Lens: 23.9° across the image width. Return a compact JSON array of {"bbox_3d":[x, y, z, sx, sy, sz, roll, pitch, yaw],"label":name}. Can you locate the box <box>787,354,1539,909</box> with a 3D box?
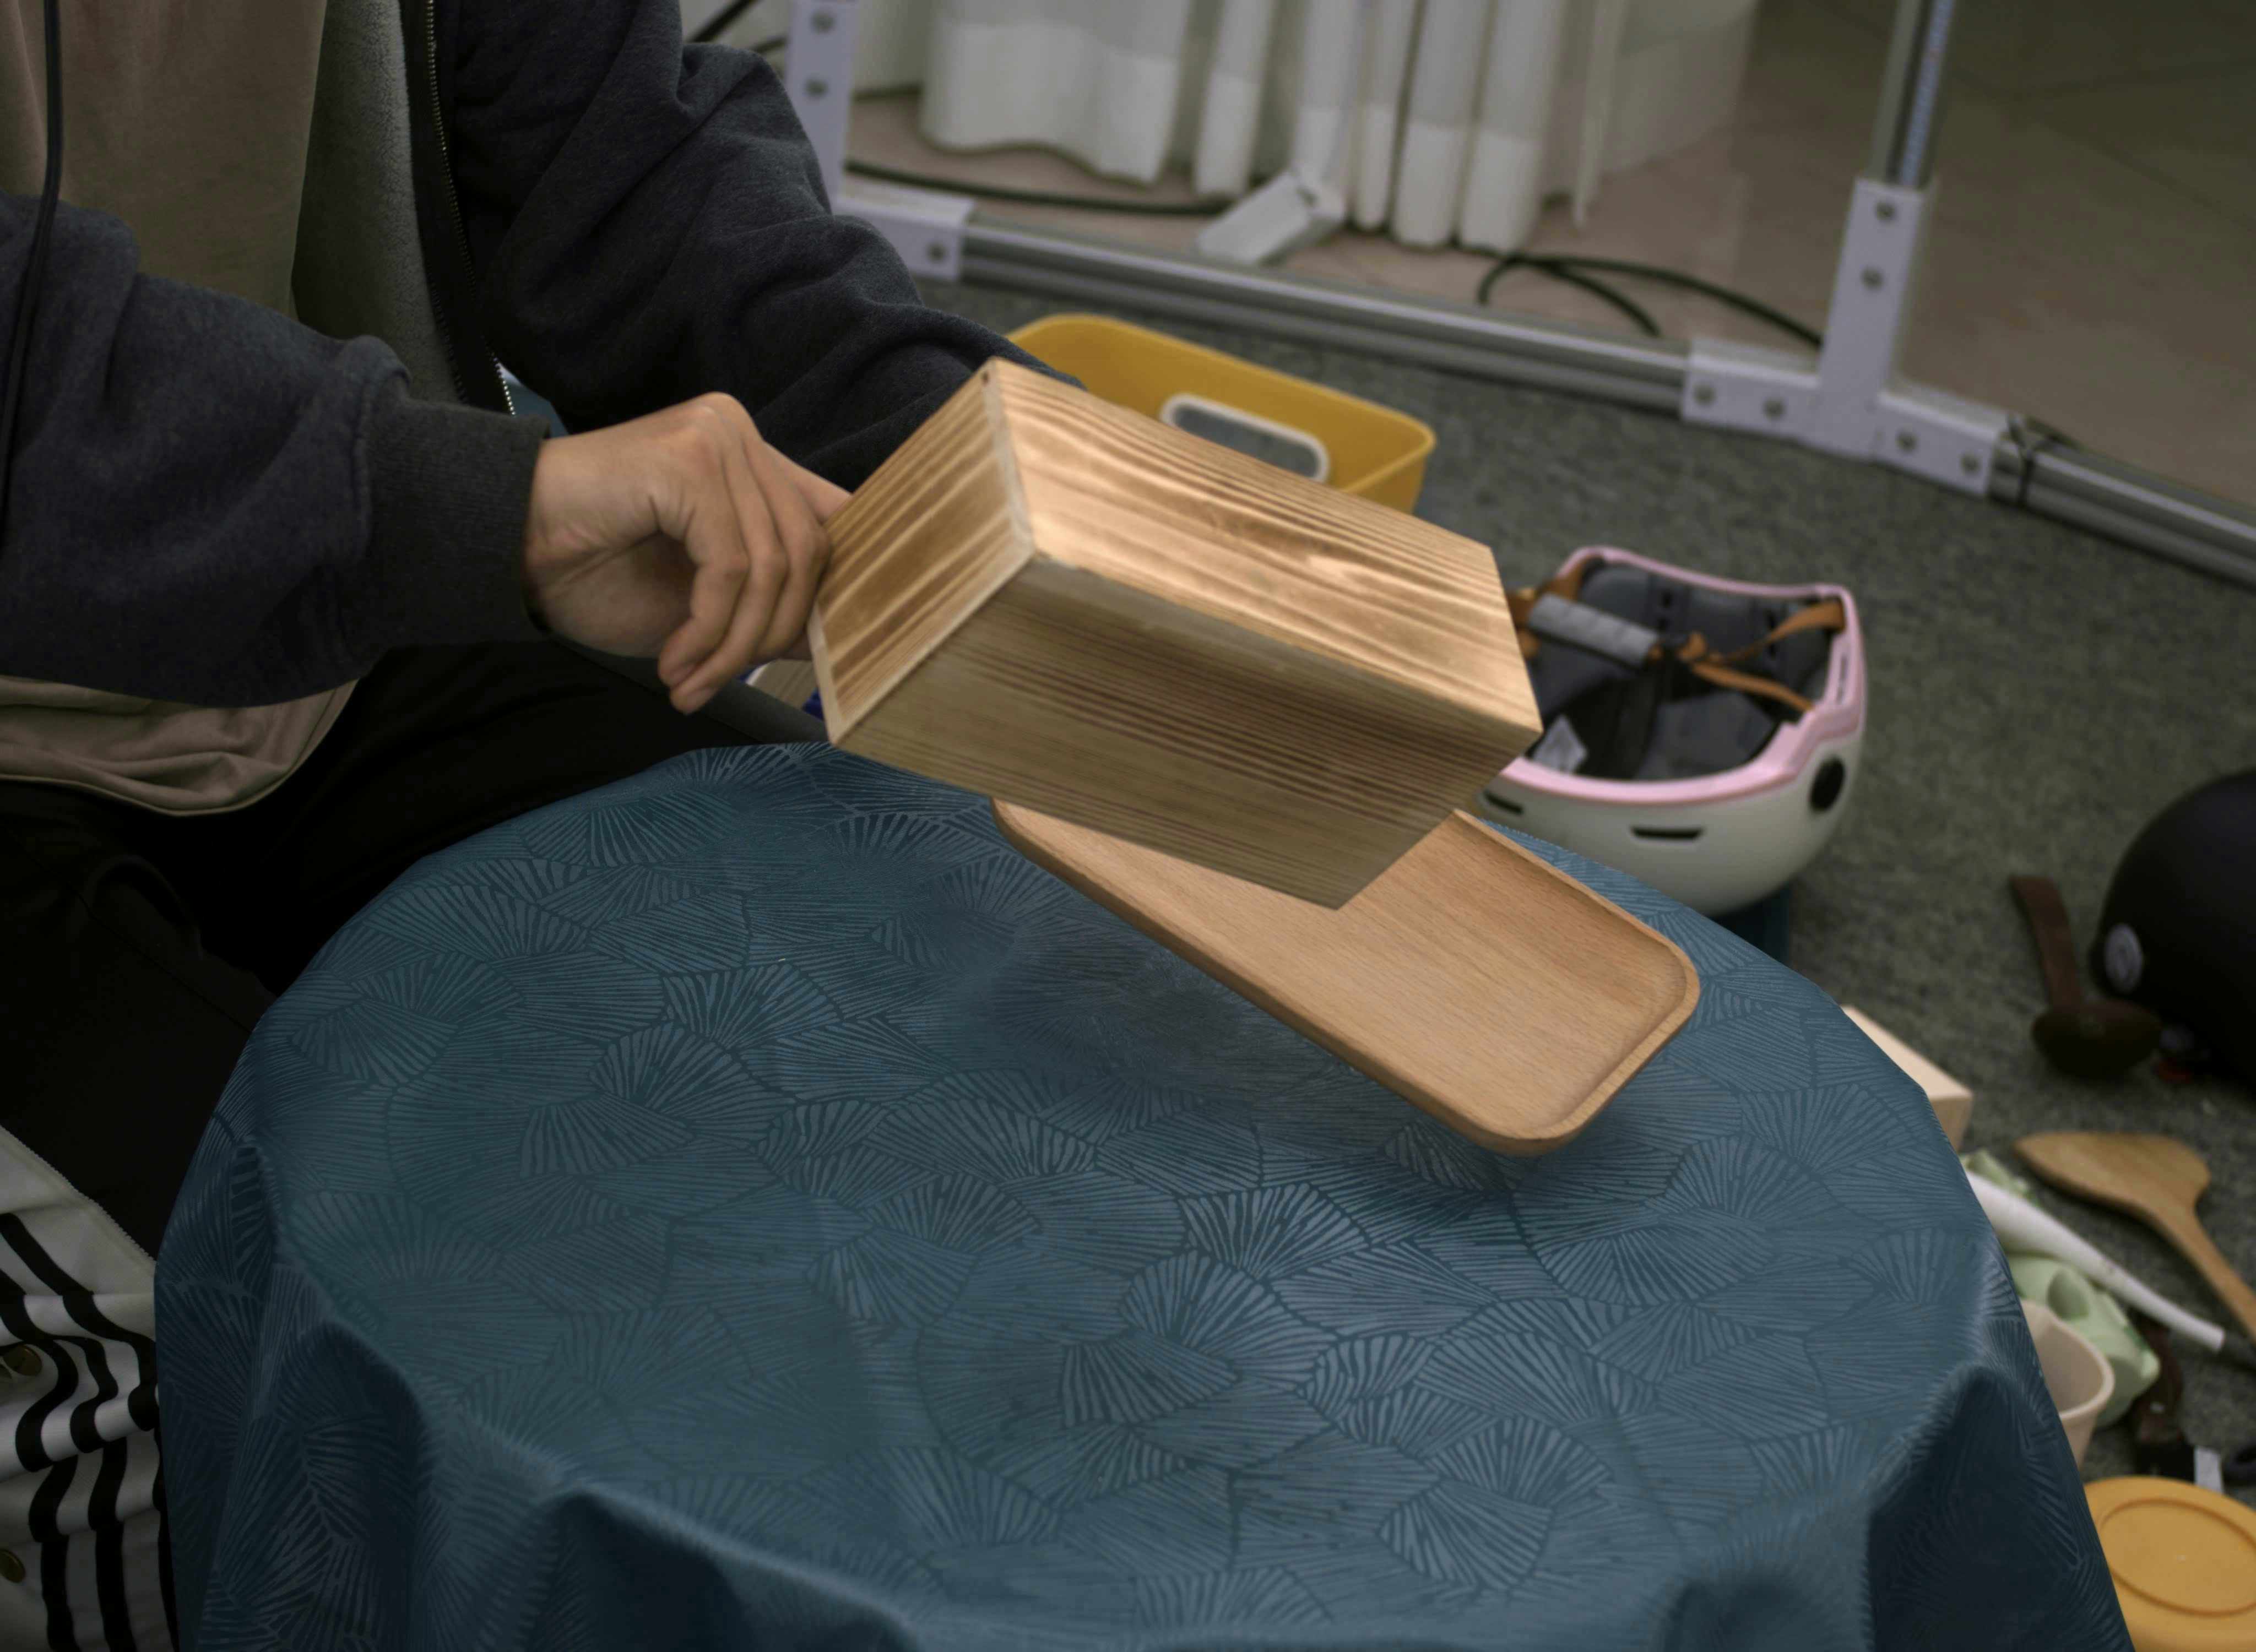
[{"bbox_3d":[0.012,-0.058,1.688,0.209,0.107,0.081,18,44,-35],"label":"box"}]

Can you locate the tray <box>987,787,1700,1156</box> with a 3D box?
[{"bbox_3d":[0.075,0.024,1.876,0.252,0.023,0.130,32,44,21],"label":"tray"}]
